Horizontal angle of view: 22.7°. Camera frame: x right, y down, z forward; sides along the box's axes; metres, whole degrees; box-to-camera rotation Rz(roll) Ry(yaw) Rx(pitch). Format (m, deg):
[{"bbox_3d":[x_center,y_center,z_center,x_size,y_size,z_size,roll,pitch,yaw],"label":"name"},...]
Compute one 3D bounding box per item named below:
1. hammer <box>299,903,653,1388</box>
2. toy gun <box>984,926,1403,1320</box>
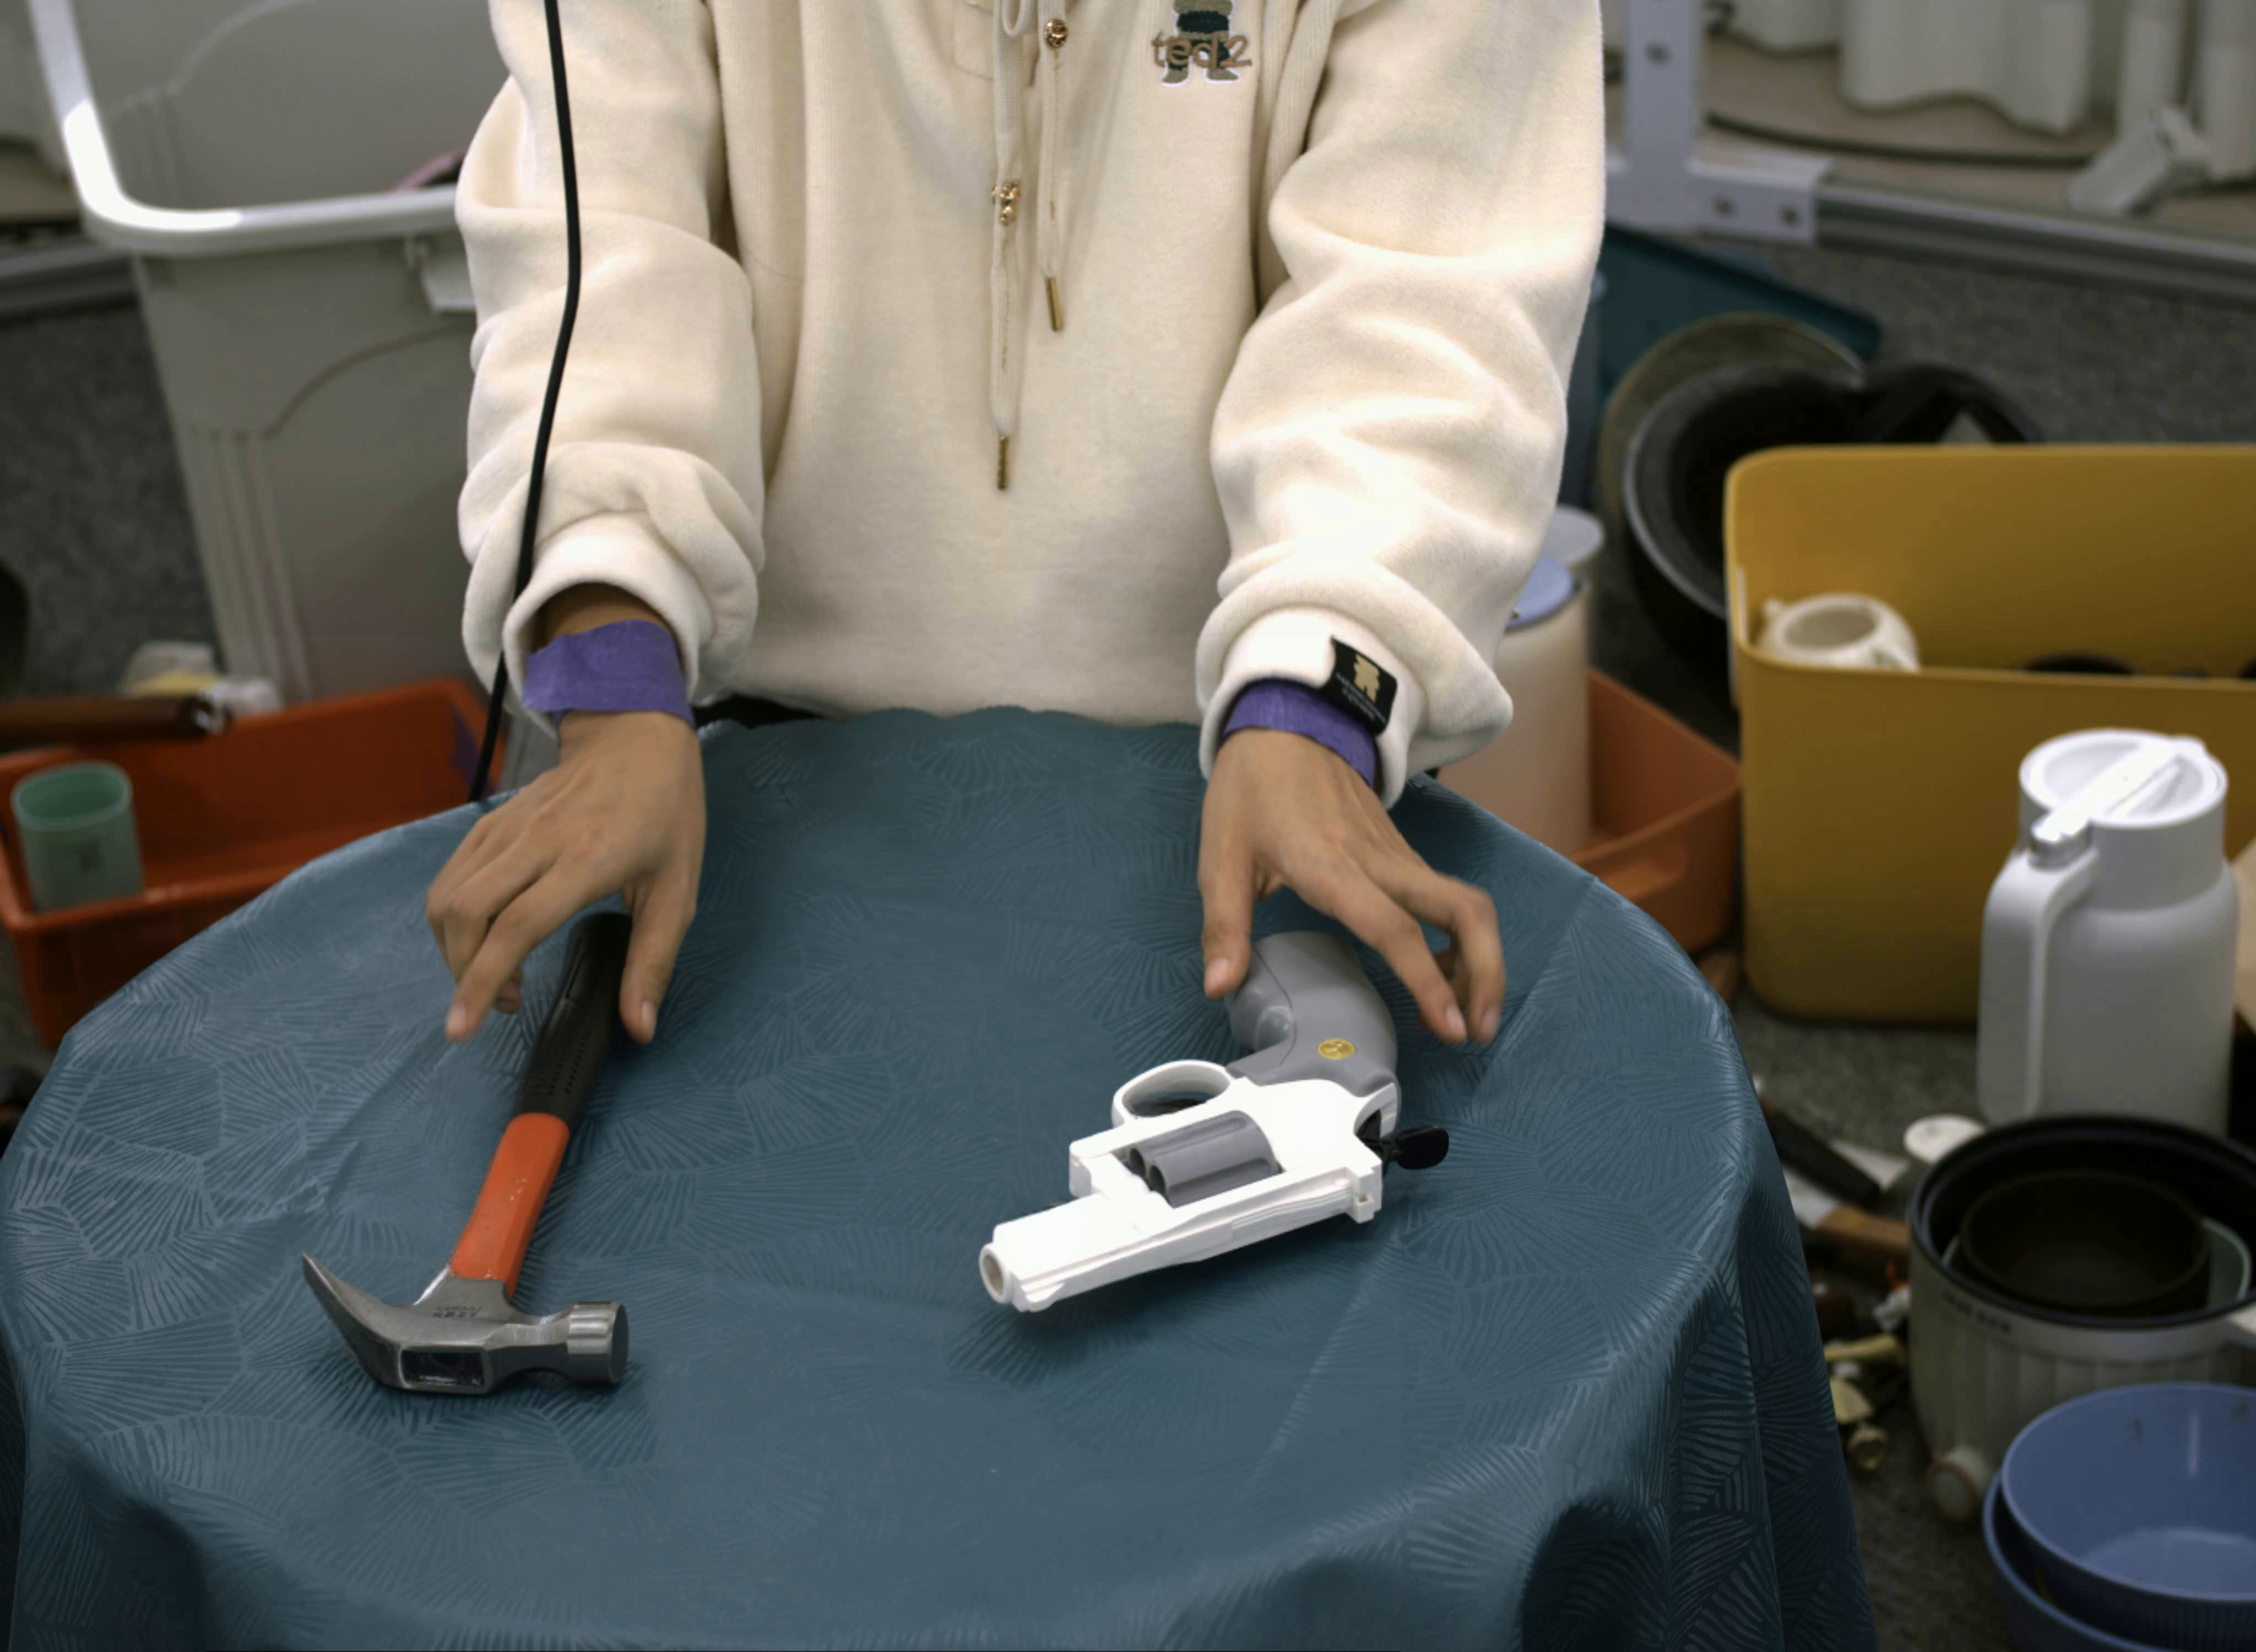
[{"bbox_3d":[-0.201,0.103,1.884,0.110,0.026,0.282,-7,27,11],"label":"hammer"},{"bbox_3d":[0.020,0.098,1.860,0.210,0.038,0.142,-17,33,-29],"label":"toy gun"}]
